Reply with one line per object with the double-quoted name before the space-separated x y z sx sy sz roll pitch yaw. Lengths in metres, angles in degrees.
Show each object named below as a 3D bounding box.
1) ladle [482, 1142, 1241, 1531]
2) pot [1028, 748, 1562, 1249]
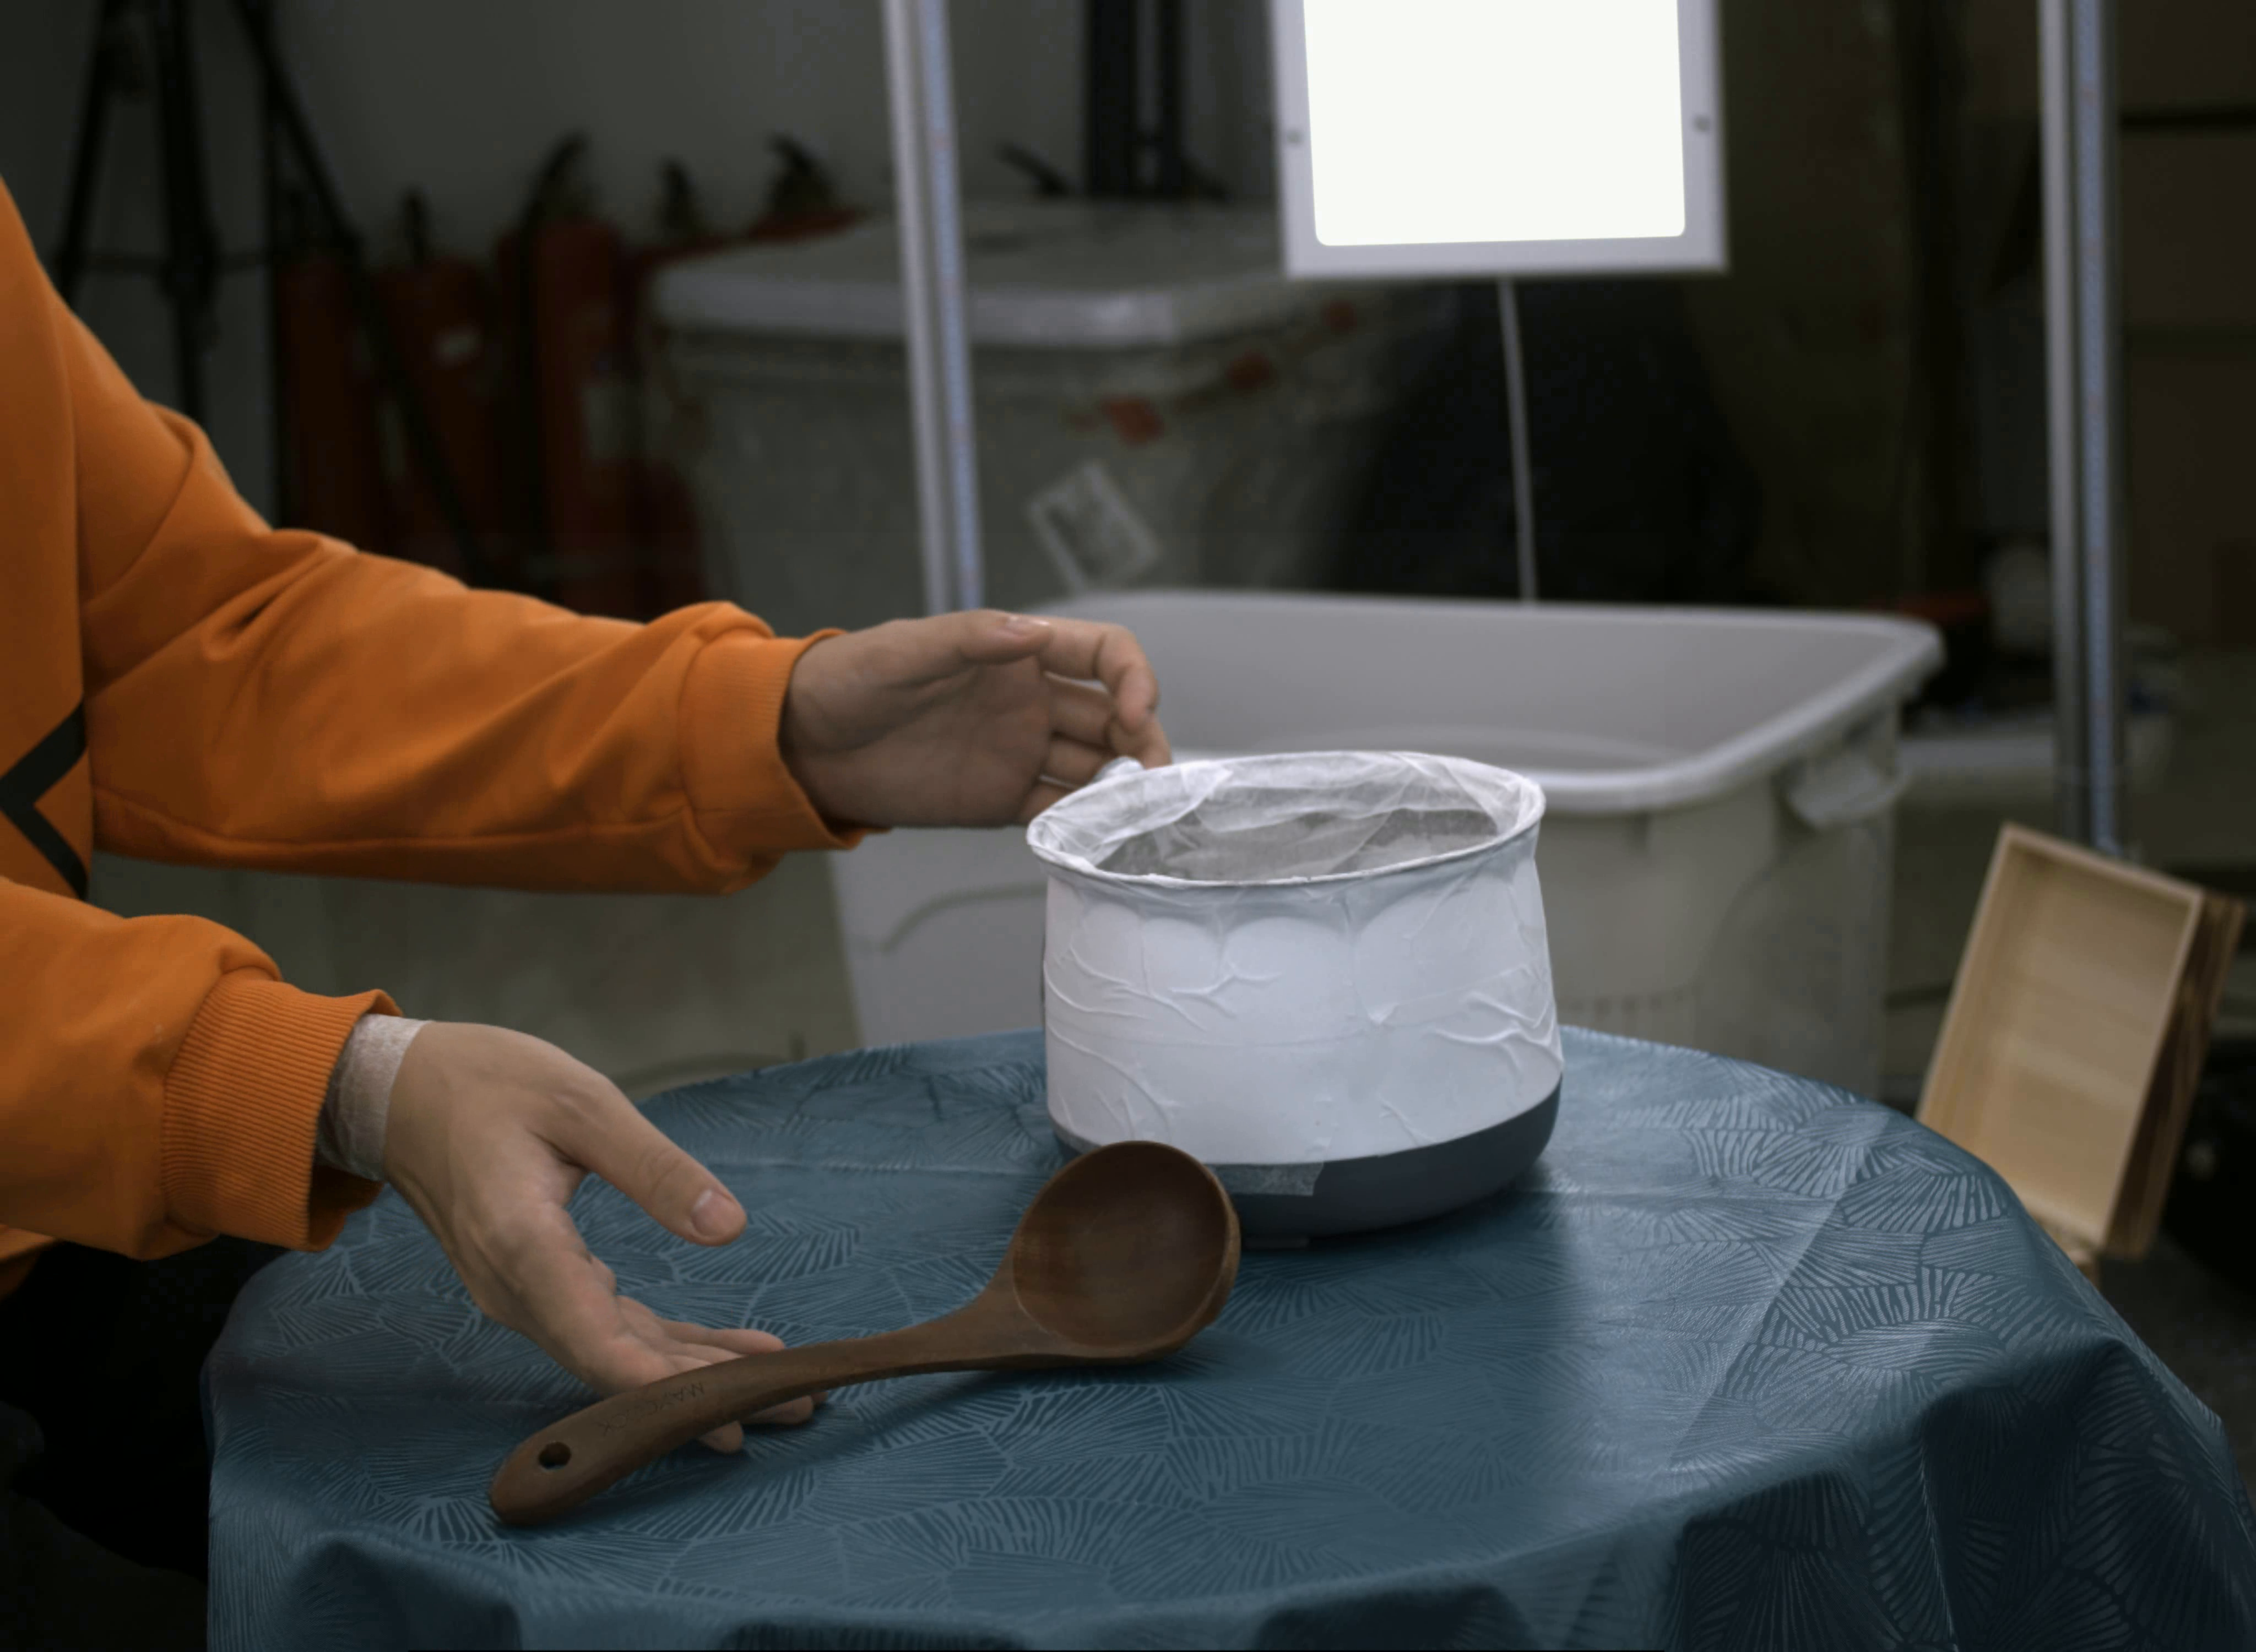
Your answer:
"ladle" -0.079 0.155 1.682 0.254 0.066 0.077 -13 41 -31
"pot" 0.042 0.052 1.894 0.174 0.137 0.238 -13 16 -32
